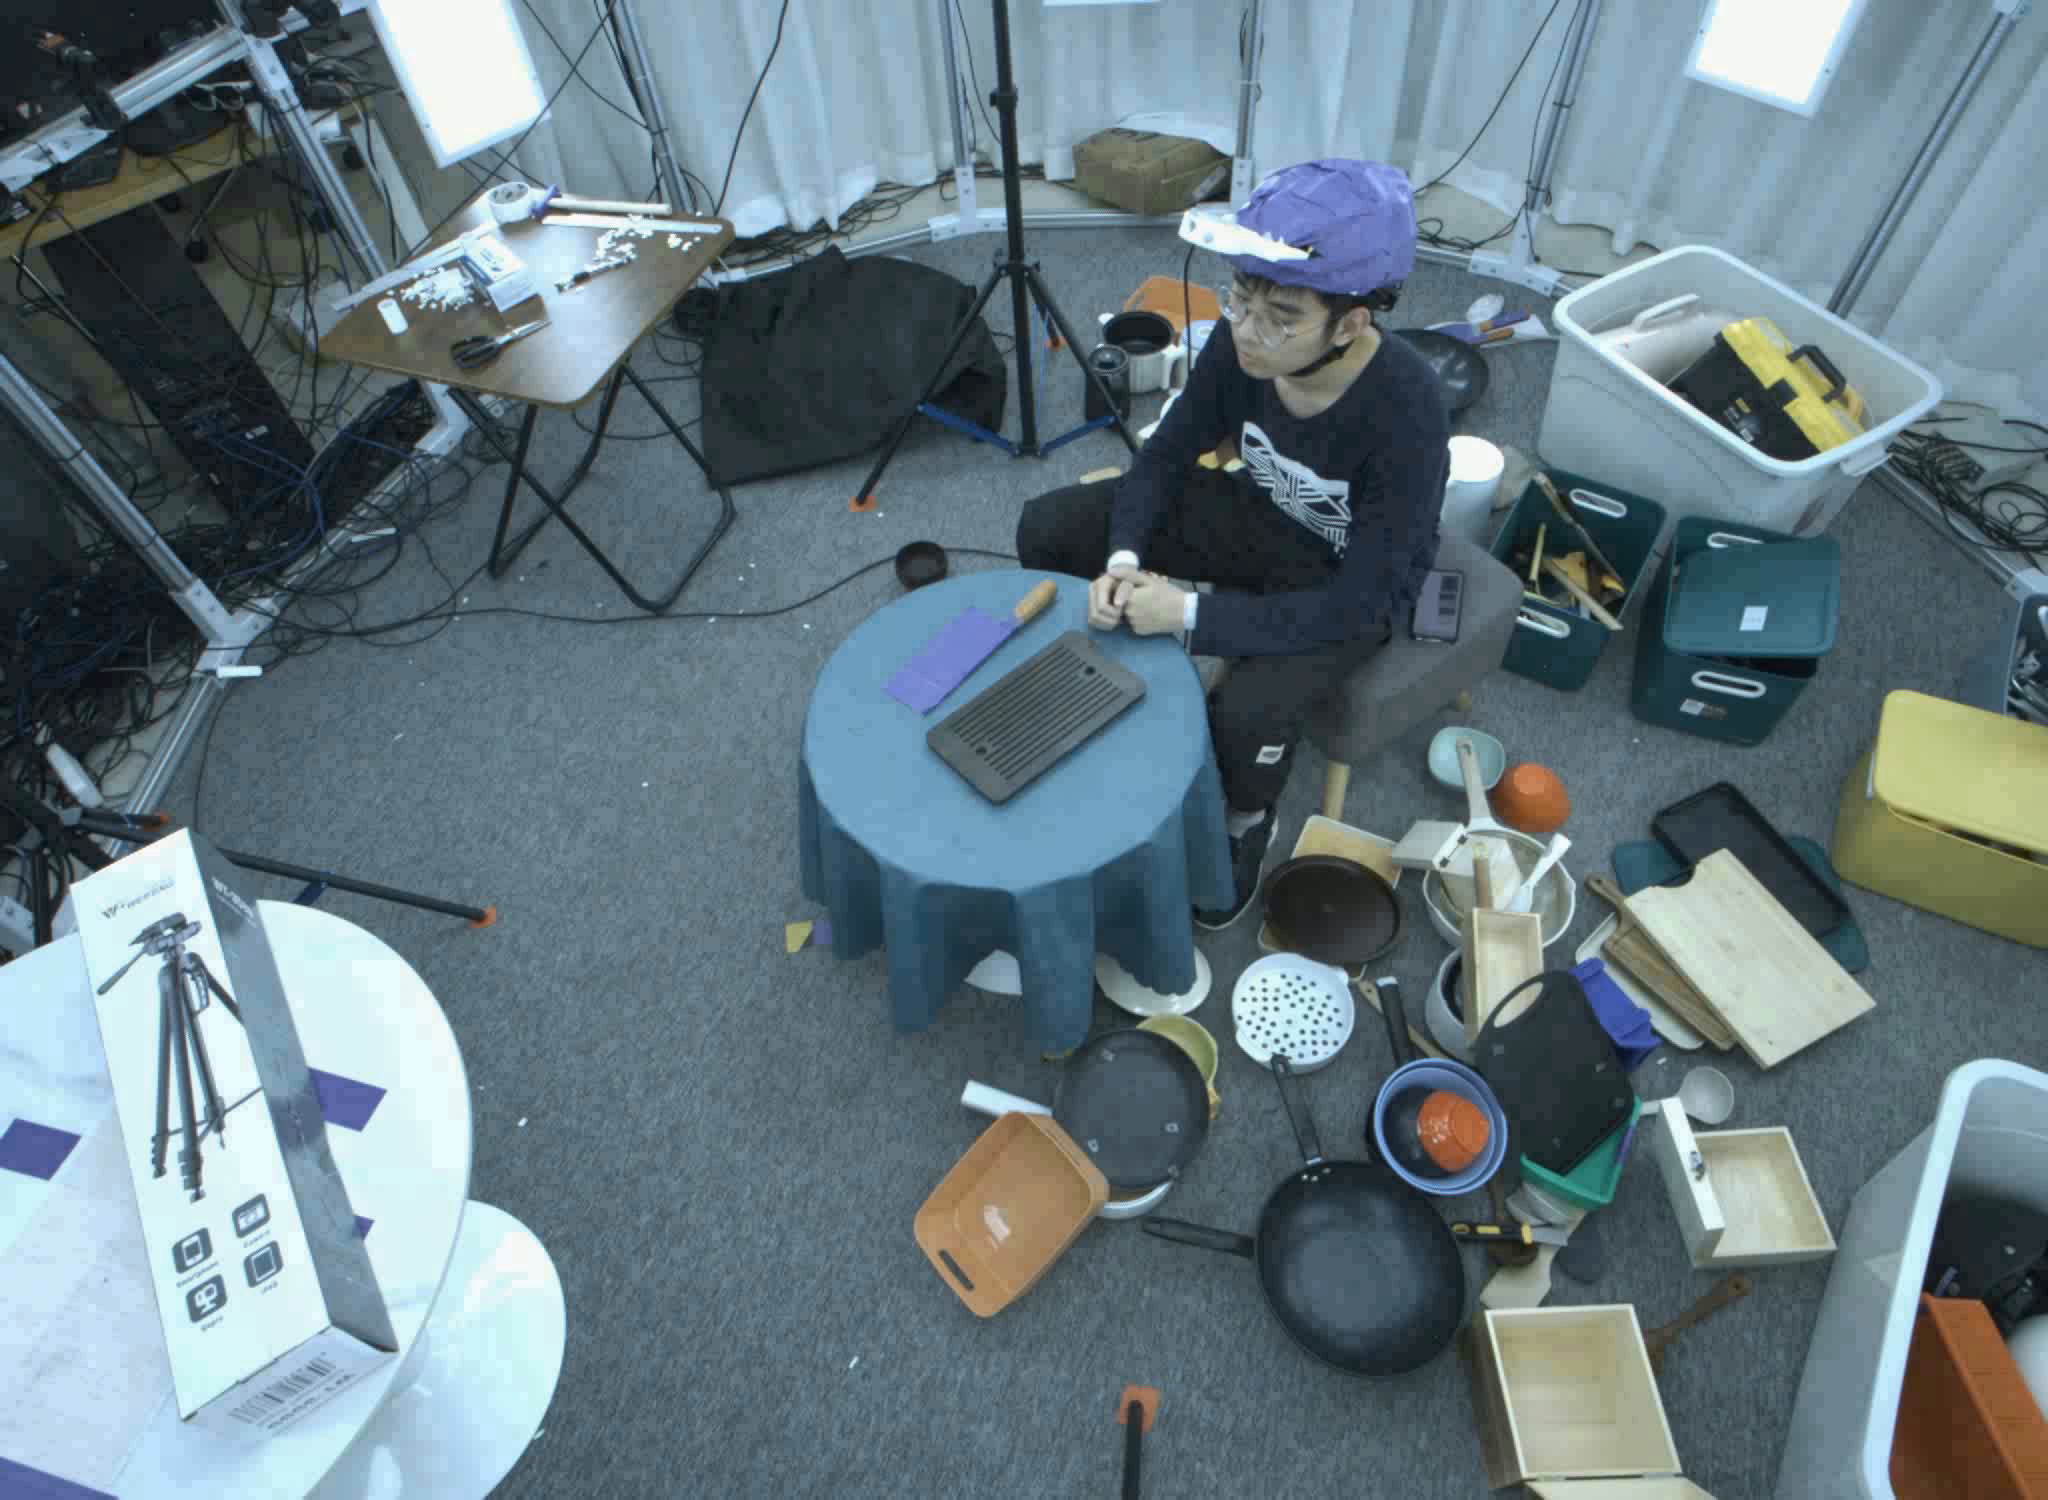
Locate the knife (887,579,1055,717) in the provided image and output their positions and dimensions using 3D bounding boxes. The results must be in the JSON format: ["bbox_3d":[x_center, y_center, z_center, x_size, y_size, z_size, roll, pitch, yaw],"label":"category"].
[{"bbox_3d":[-0.084,-0.176,1.906,0.102,0.032,0.317,33,62,22],"label":"knife"}]

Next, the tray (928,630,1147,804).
[{"bbox_3d":[0.022,-0.053,1.821,0.308,0.019,0.167,-37,61,-23],"label":"tray"}]
